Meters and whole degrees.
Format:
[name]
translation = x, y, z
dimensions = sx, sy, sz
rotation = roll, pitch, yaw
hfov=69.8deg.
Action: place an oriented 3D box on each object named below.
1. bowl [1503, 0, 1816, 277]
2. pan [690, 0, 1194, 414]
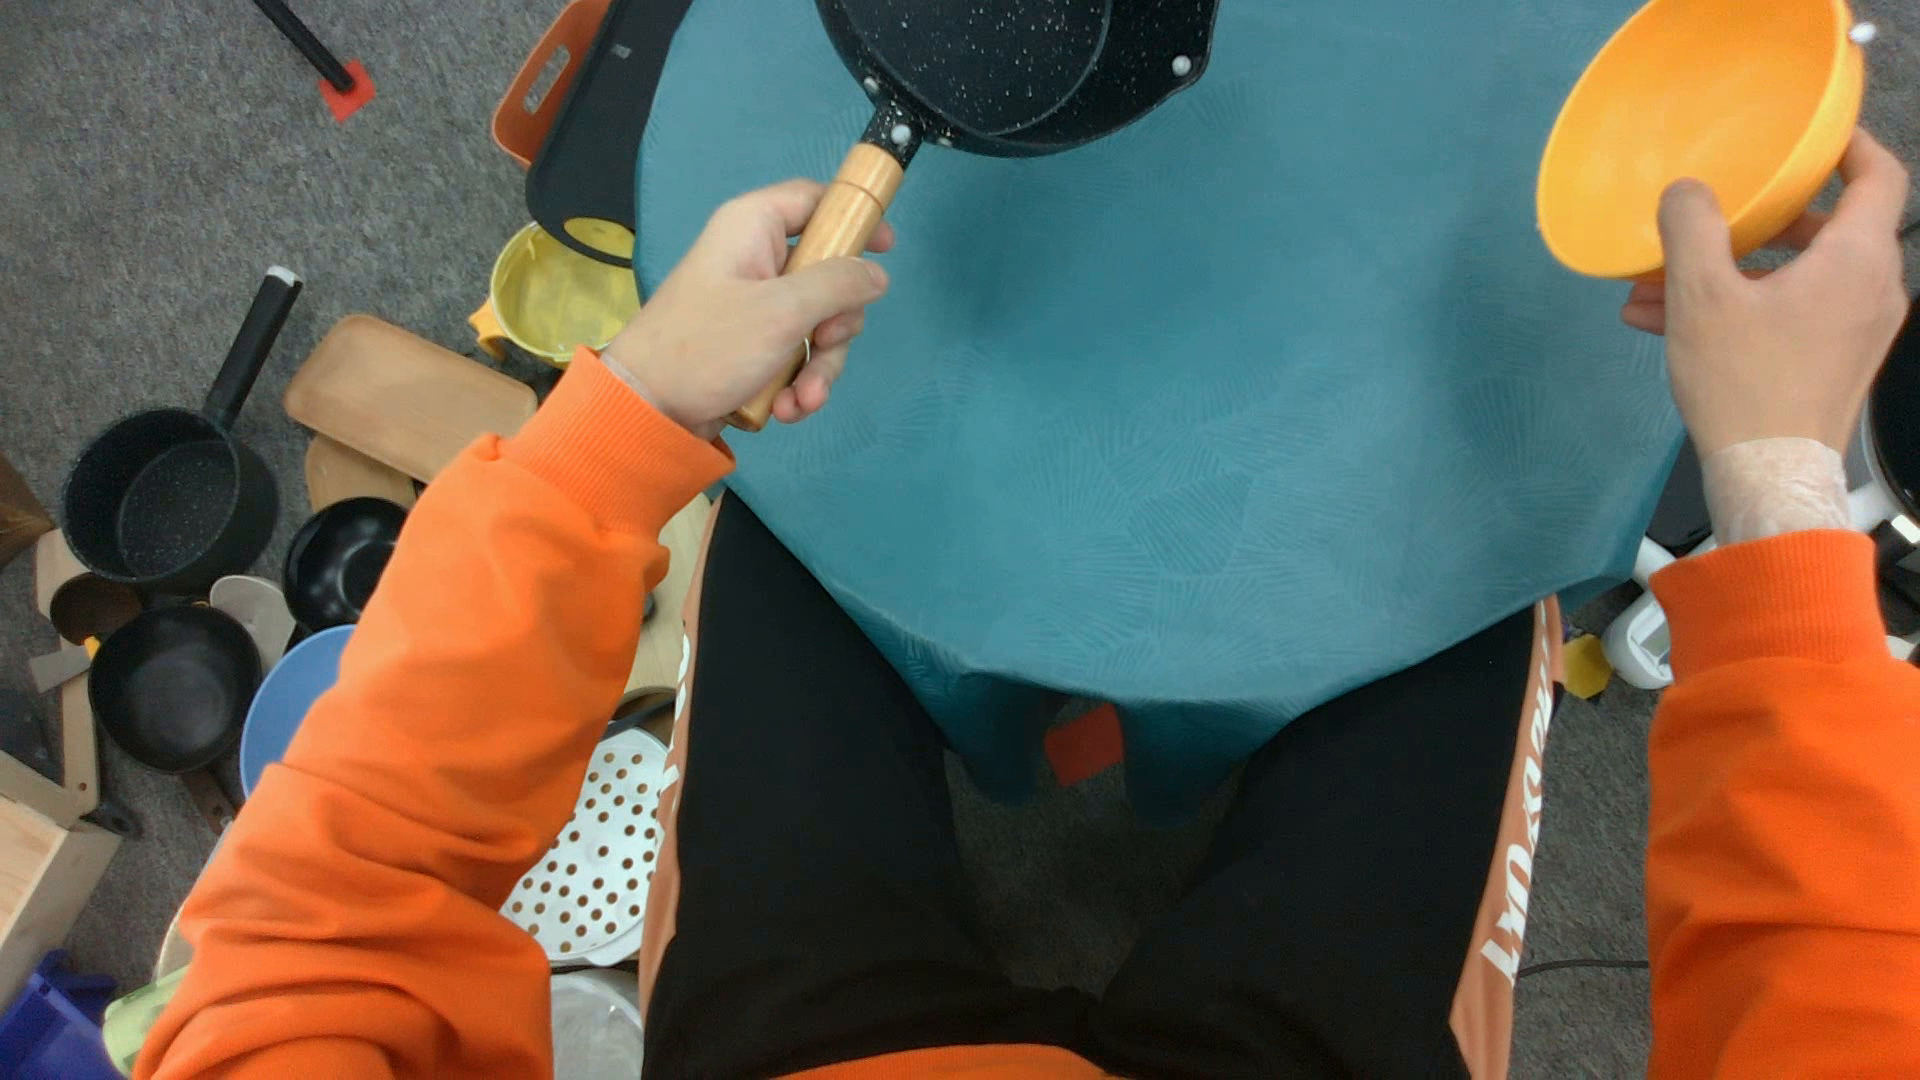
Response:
[bowl]
translation = 0.316, -0.175, 0.608
dimensions = 0.060, 0.145, 0.145
rotation = 19, 75, -23
[pan]
translation = -0.027, -0.202, 0.606
dimensions = 0.207, 0.108, 0.343
rotation = 32, 83, -21
